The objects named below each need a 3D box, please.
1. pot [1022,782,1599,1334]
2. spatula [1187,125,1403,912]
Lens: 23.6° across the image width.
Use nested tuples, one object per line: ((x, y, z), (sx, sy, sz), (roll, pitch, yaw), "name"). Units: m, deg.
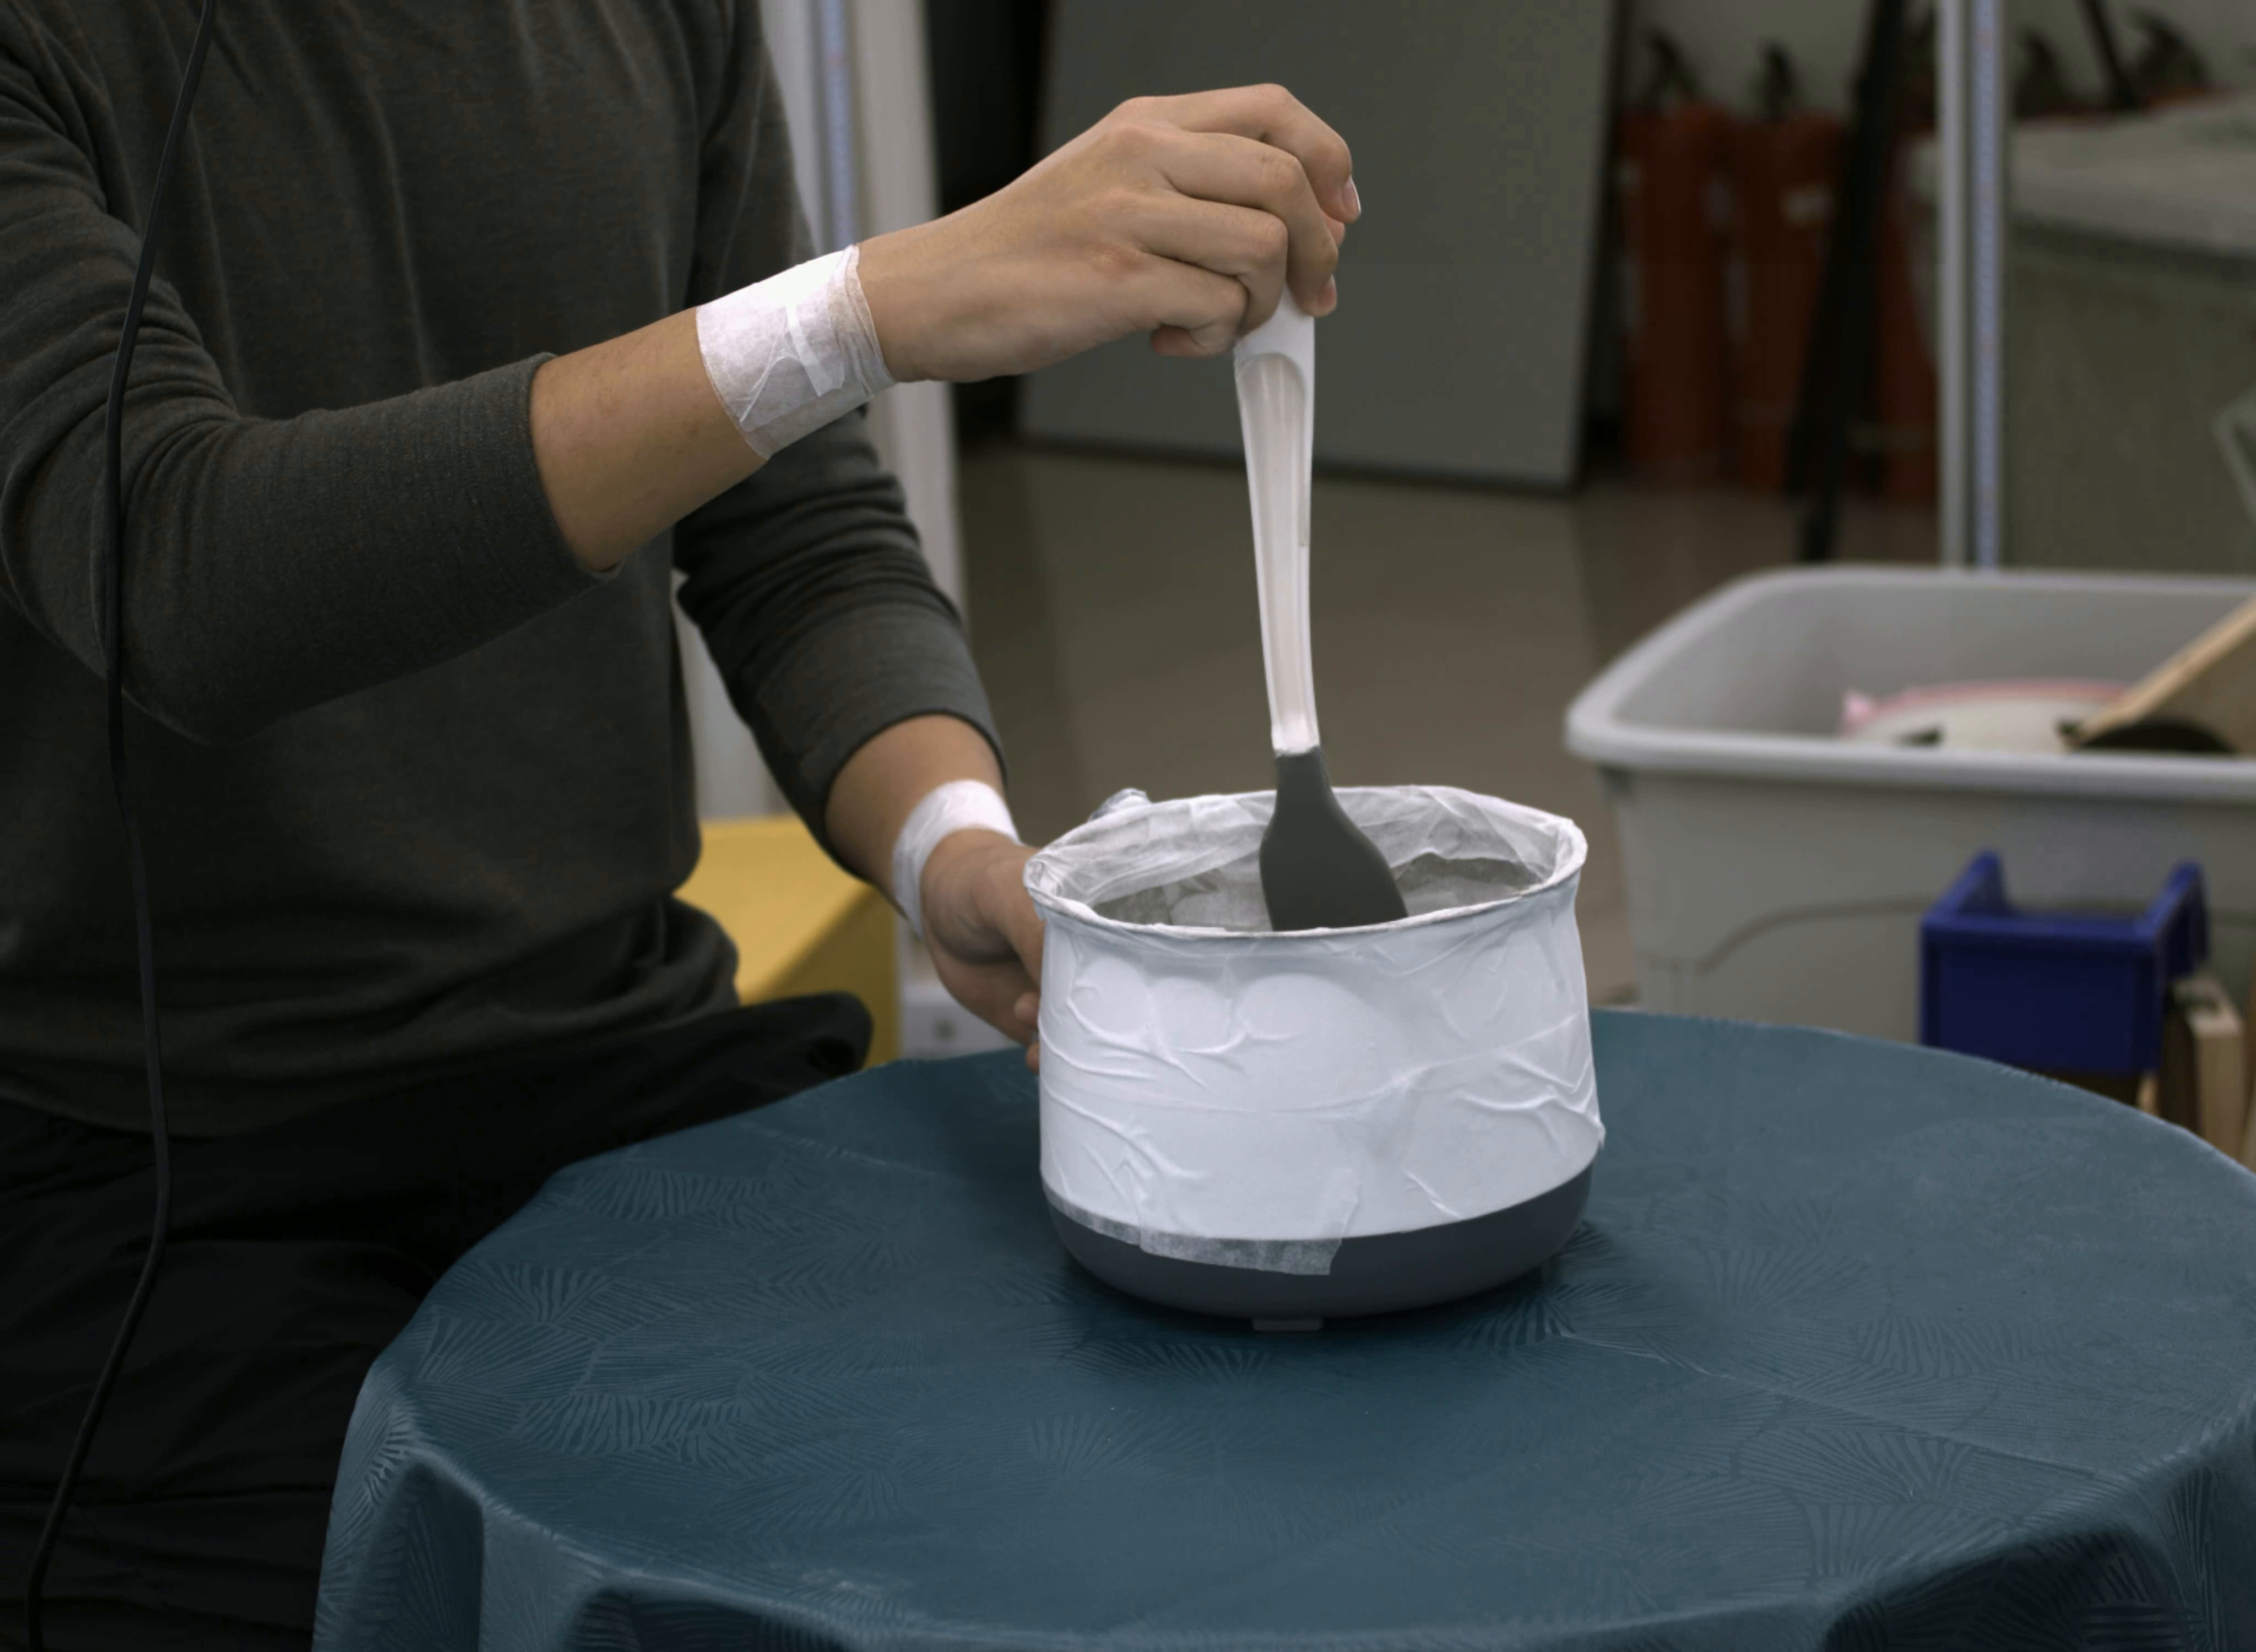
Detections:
((0.042, 0.066, 1.701), (0.175, 0.138, 0.236), (-12, 15, -32), "pot")
((0.053, -0.067, 1.654), (0.059, 0.290, 0.032), (1, 16, 34), "spatula")
